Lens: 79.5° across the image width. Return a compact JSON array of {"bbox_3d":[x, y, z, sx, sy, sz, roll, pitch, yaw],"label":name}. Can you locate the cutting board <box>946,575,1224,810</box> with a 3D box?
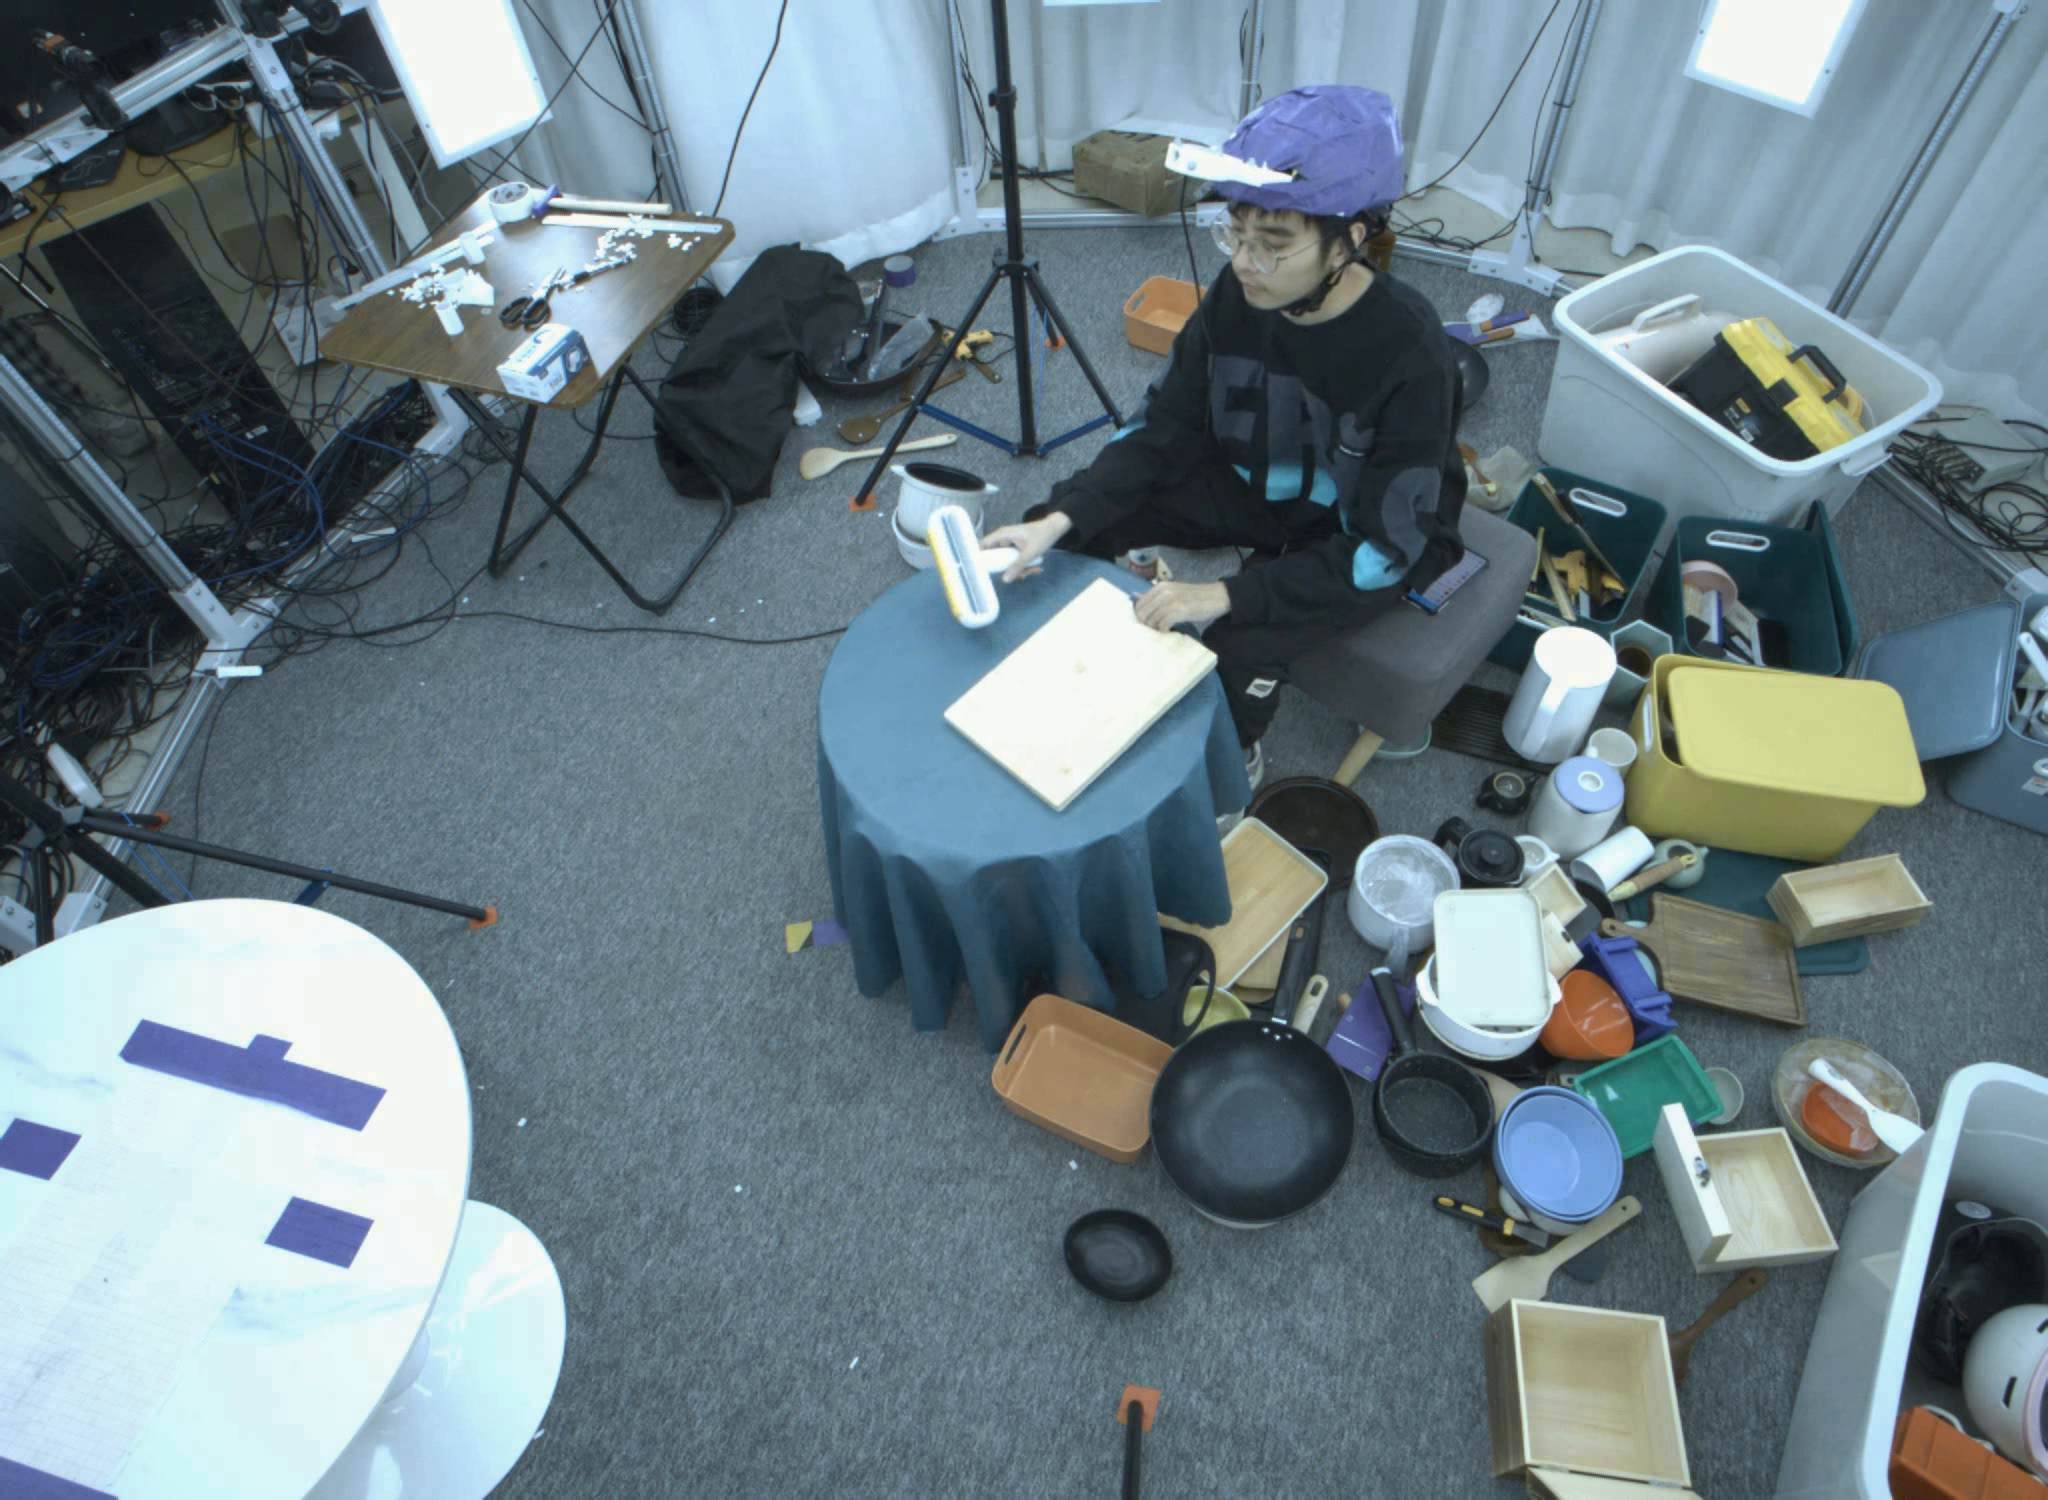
[{"bbox_3d":[0.088,-0.095,1.817,0.246,0.024,0.350,38,70,25],"label":"cutting board"}]

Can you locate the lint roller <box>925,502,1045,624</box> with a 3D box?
[{"bbox_3d":[-0.048,-0.296,1.906,0.195,0.073,0.192,-14,81,-25],"label":"lint roller"}]
